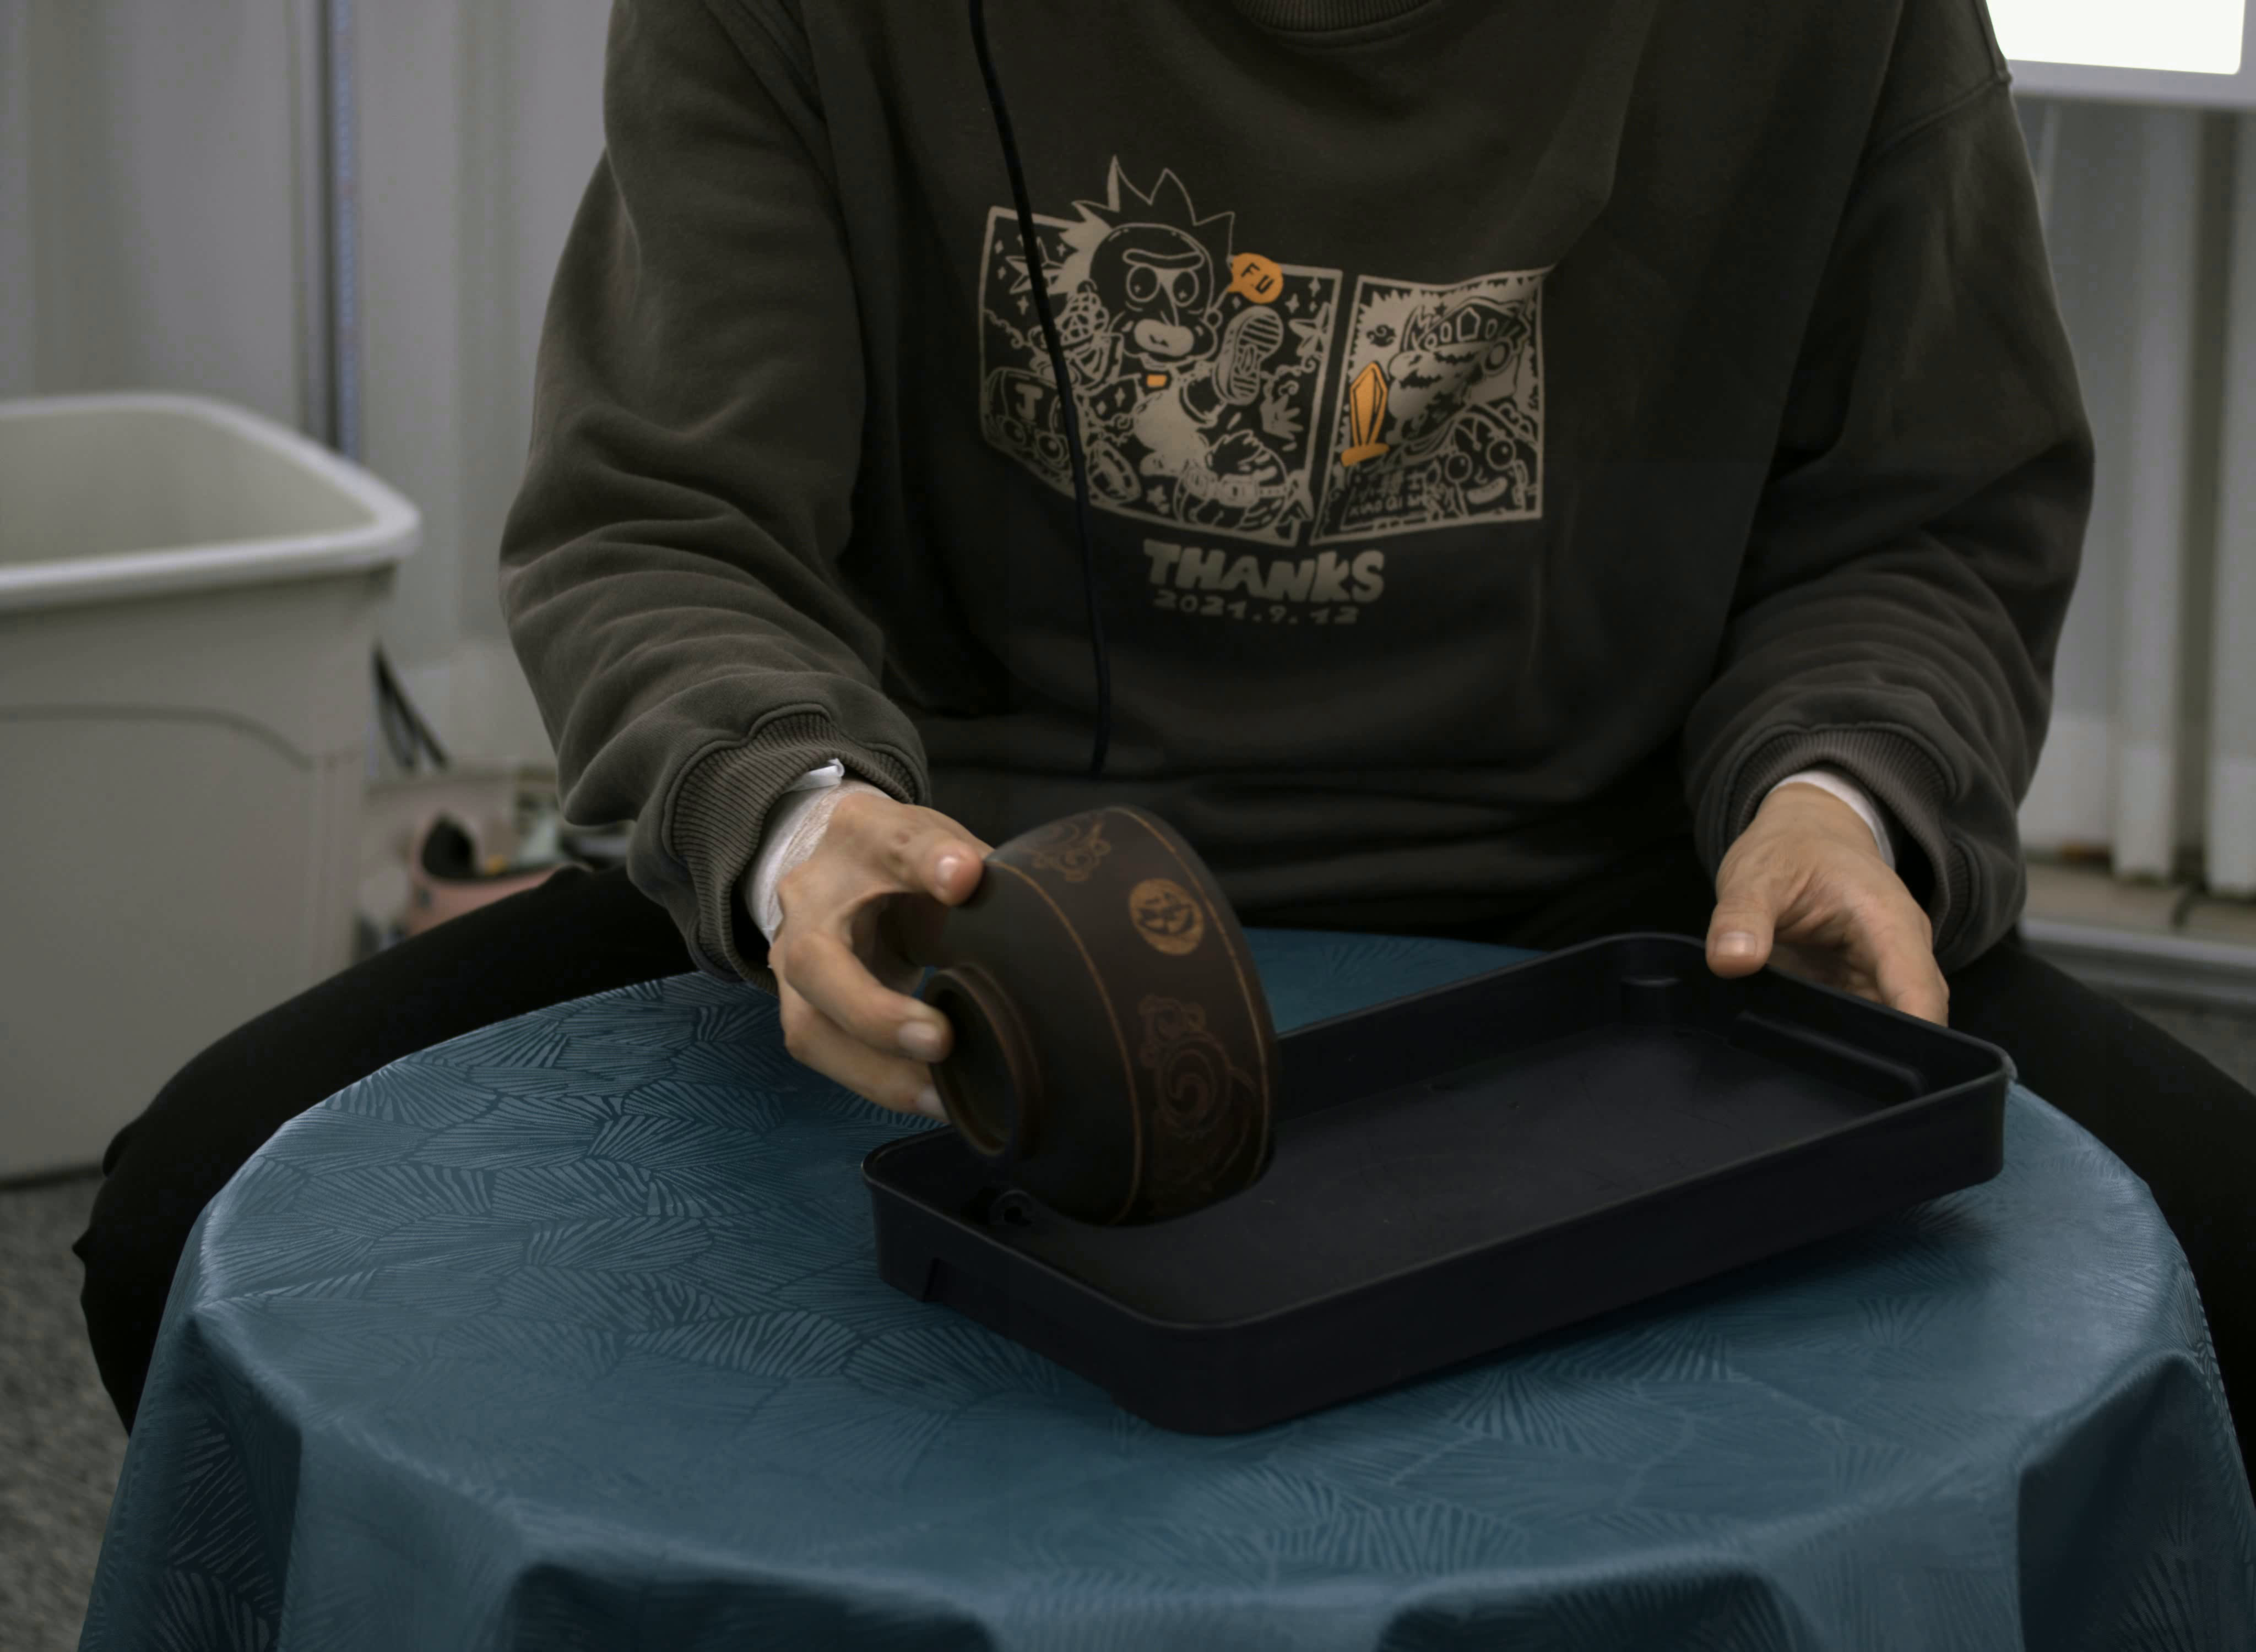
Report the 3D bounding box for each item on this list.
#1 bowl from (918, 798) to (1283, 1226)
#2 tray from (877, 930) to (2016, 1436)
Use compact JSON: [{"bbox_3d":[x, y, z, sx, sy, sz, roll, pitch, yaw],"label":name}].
[{"bbox_3d":[-0.015,0.057,1.472,0.070,0.119,0.116,-19,23,-26],"label":"bowl"},{"bbox_3d":[0.098,0.100,1.578,0.319,0.037,0.182,-15,21,-34],"label":"tray"}]
